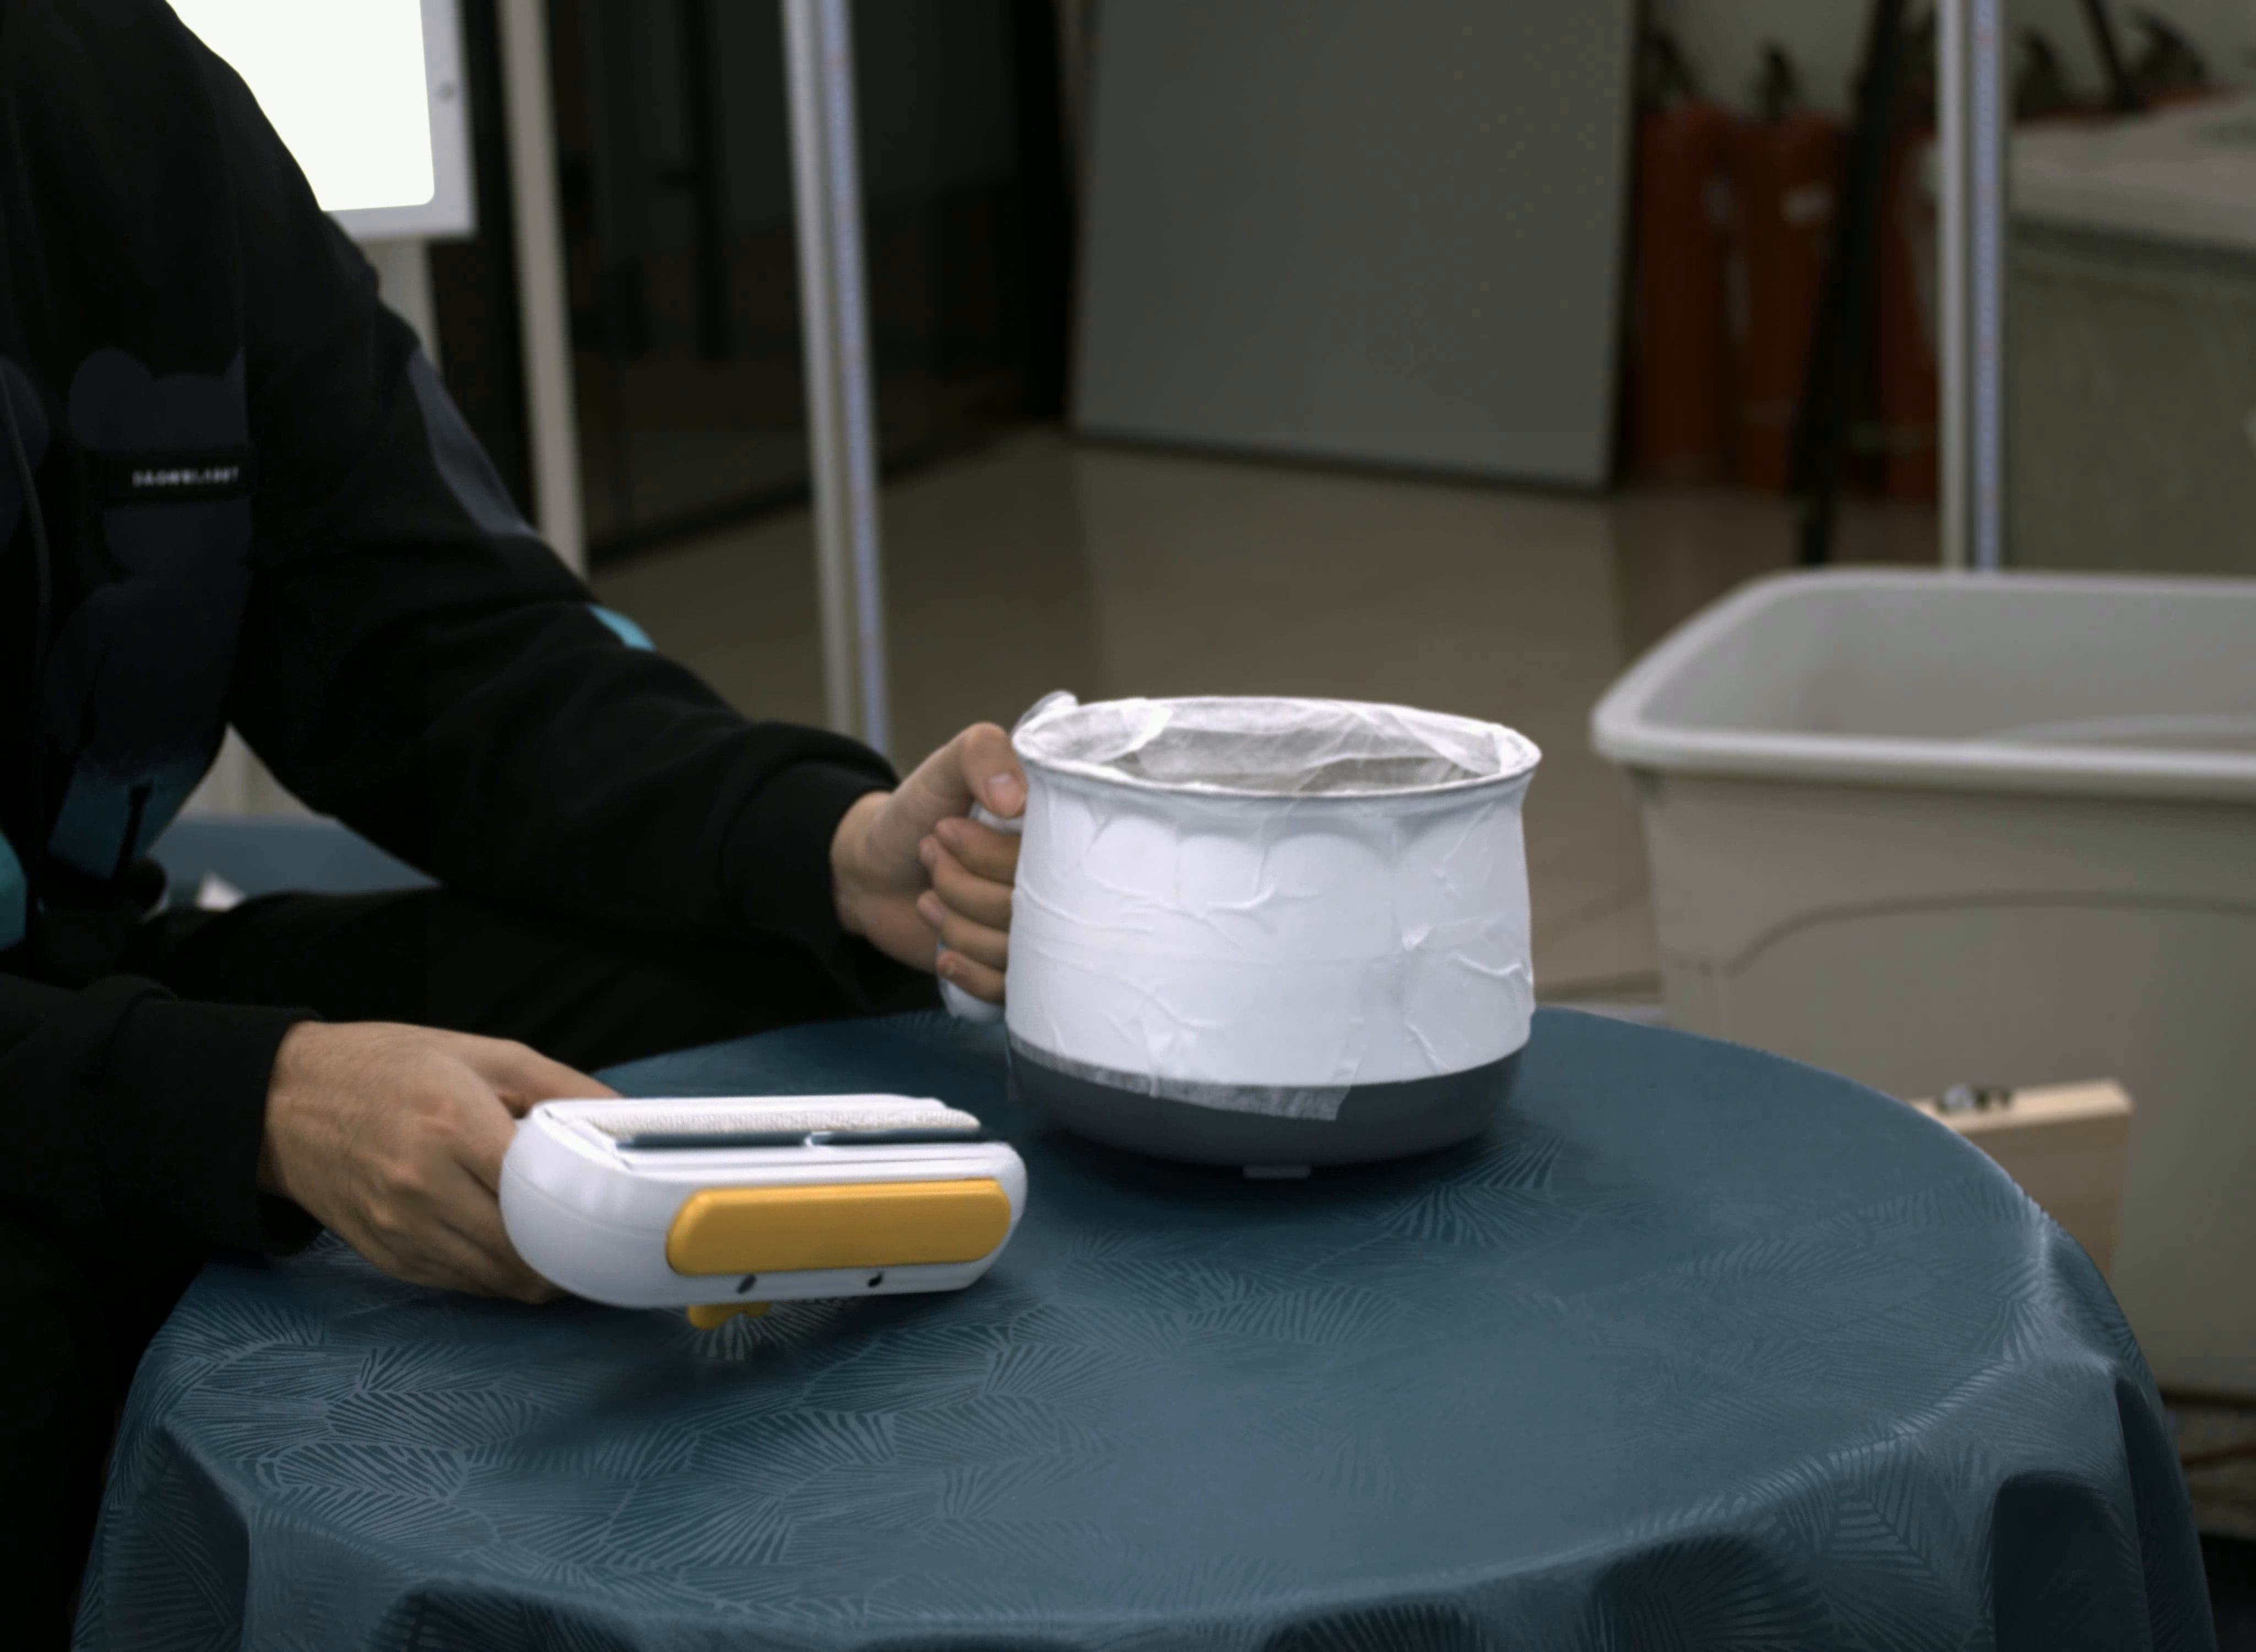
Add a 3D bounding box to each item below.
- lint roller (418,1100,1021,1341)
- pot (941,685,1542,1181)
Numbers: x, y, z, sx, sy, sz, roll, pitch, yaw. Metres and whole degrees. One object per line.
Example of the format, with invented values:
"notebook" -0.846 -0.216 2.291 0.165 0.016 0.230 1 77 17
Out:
"lint roller" -0.153 0.109 1.683 0.188 0.075 0.194 -4 15 -43
"pot" 0.027 0.030 1.816 0.236 0.138 0.175 11 14 42
